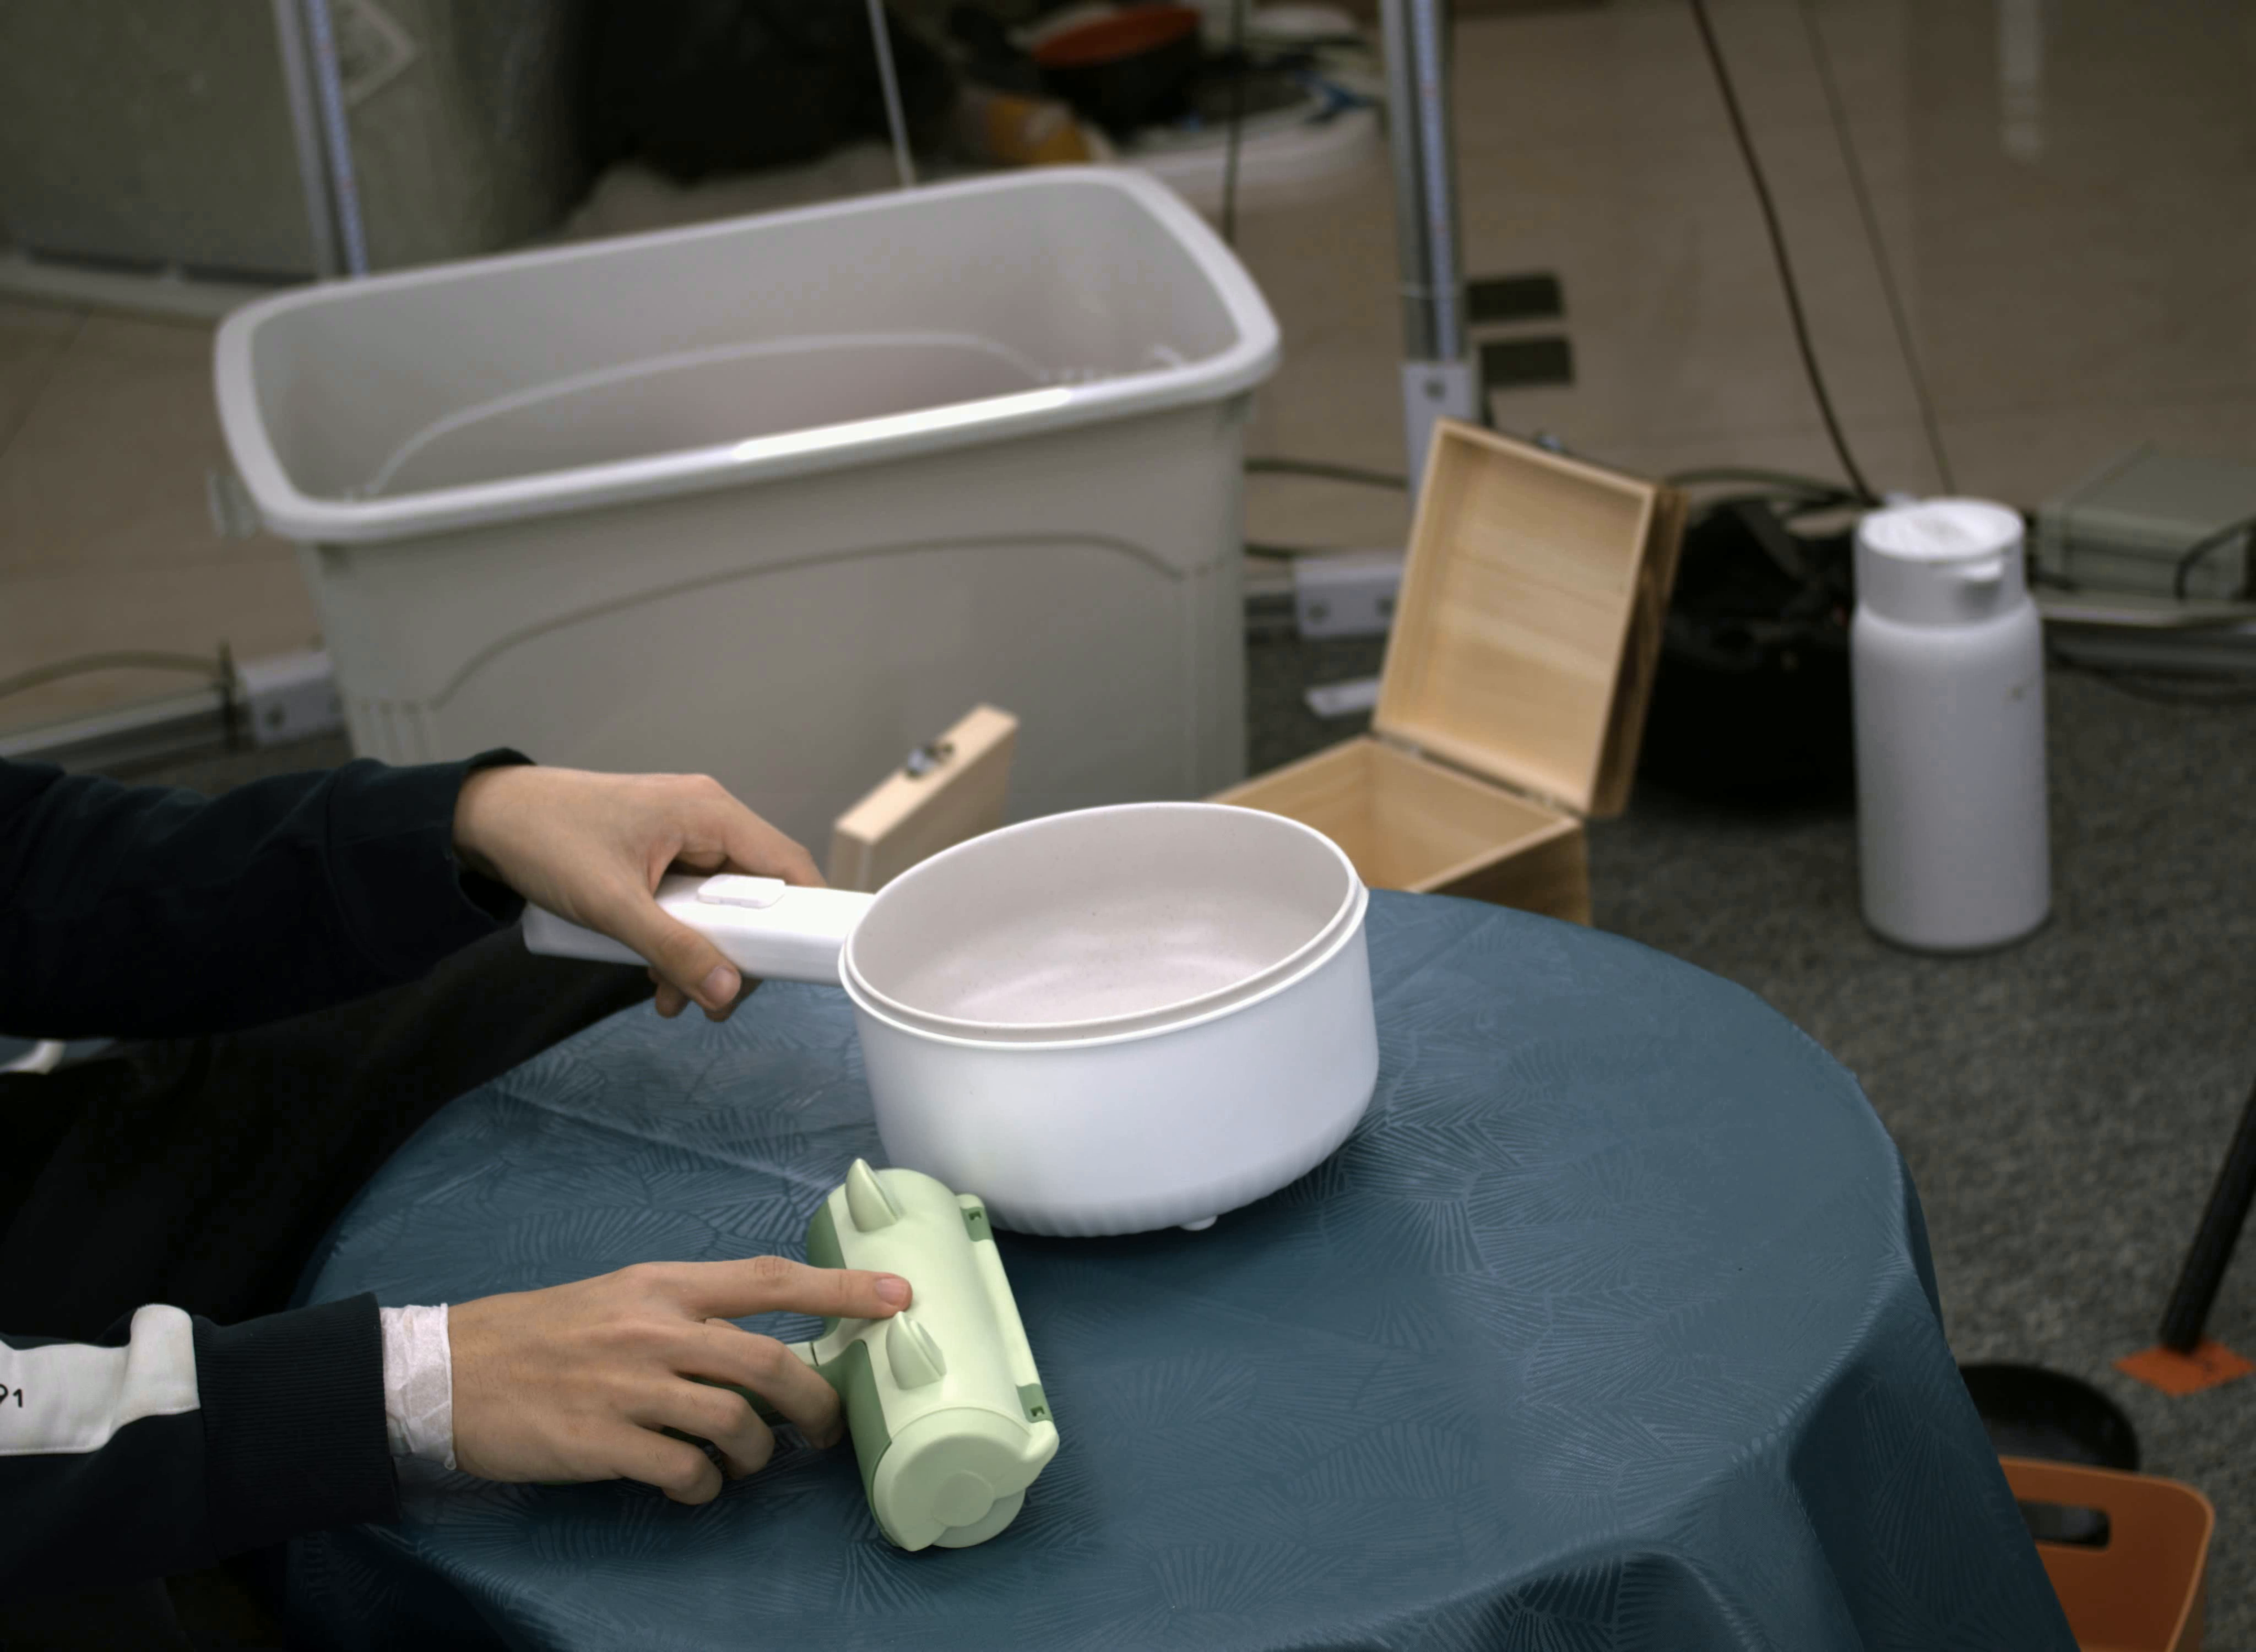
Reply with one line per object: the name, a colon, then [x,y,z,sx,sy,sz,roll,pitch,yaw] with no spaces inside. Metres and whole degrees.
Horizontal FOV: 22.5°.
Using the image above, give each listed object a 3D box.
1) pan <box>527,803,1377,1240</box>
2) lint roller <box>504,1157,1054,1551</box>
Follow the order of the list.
pan: [-0.071,0.073,2.188,0.353,0.103,0.198,4,28,29]
lint roller: [-0.129,0.184,1.991,0.183,0.083,0.196,-5,25,-8]
